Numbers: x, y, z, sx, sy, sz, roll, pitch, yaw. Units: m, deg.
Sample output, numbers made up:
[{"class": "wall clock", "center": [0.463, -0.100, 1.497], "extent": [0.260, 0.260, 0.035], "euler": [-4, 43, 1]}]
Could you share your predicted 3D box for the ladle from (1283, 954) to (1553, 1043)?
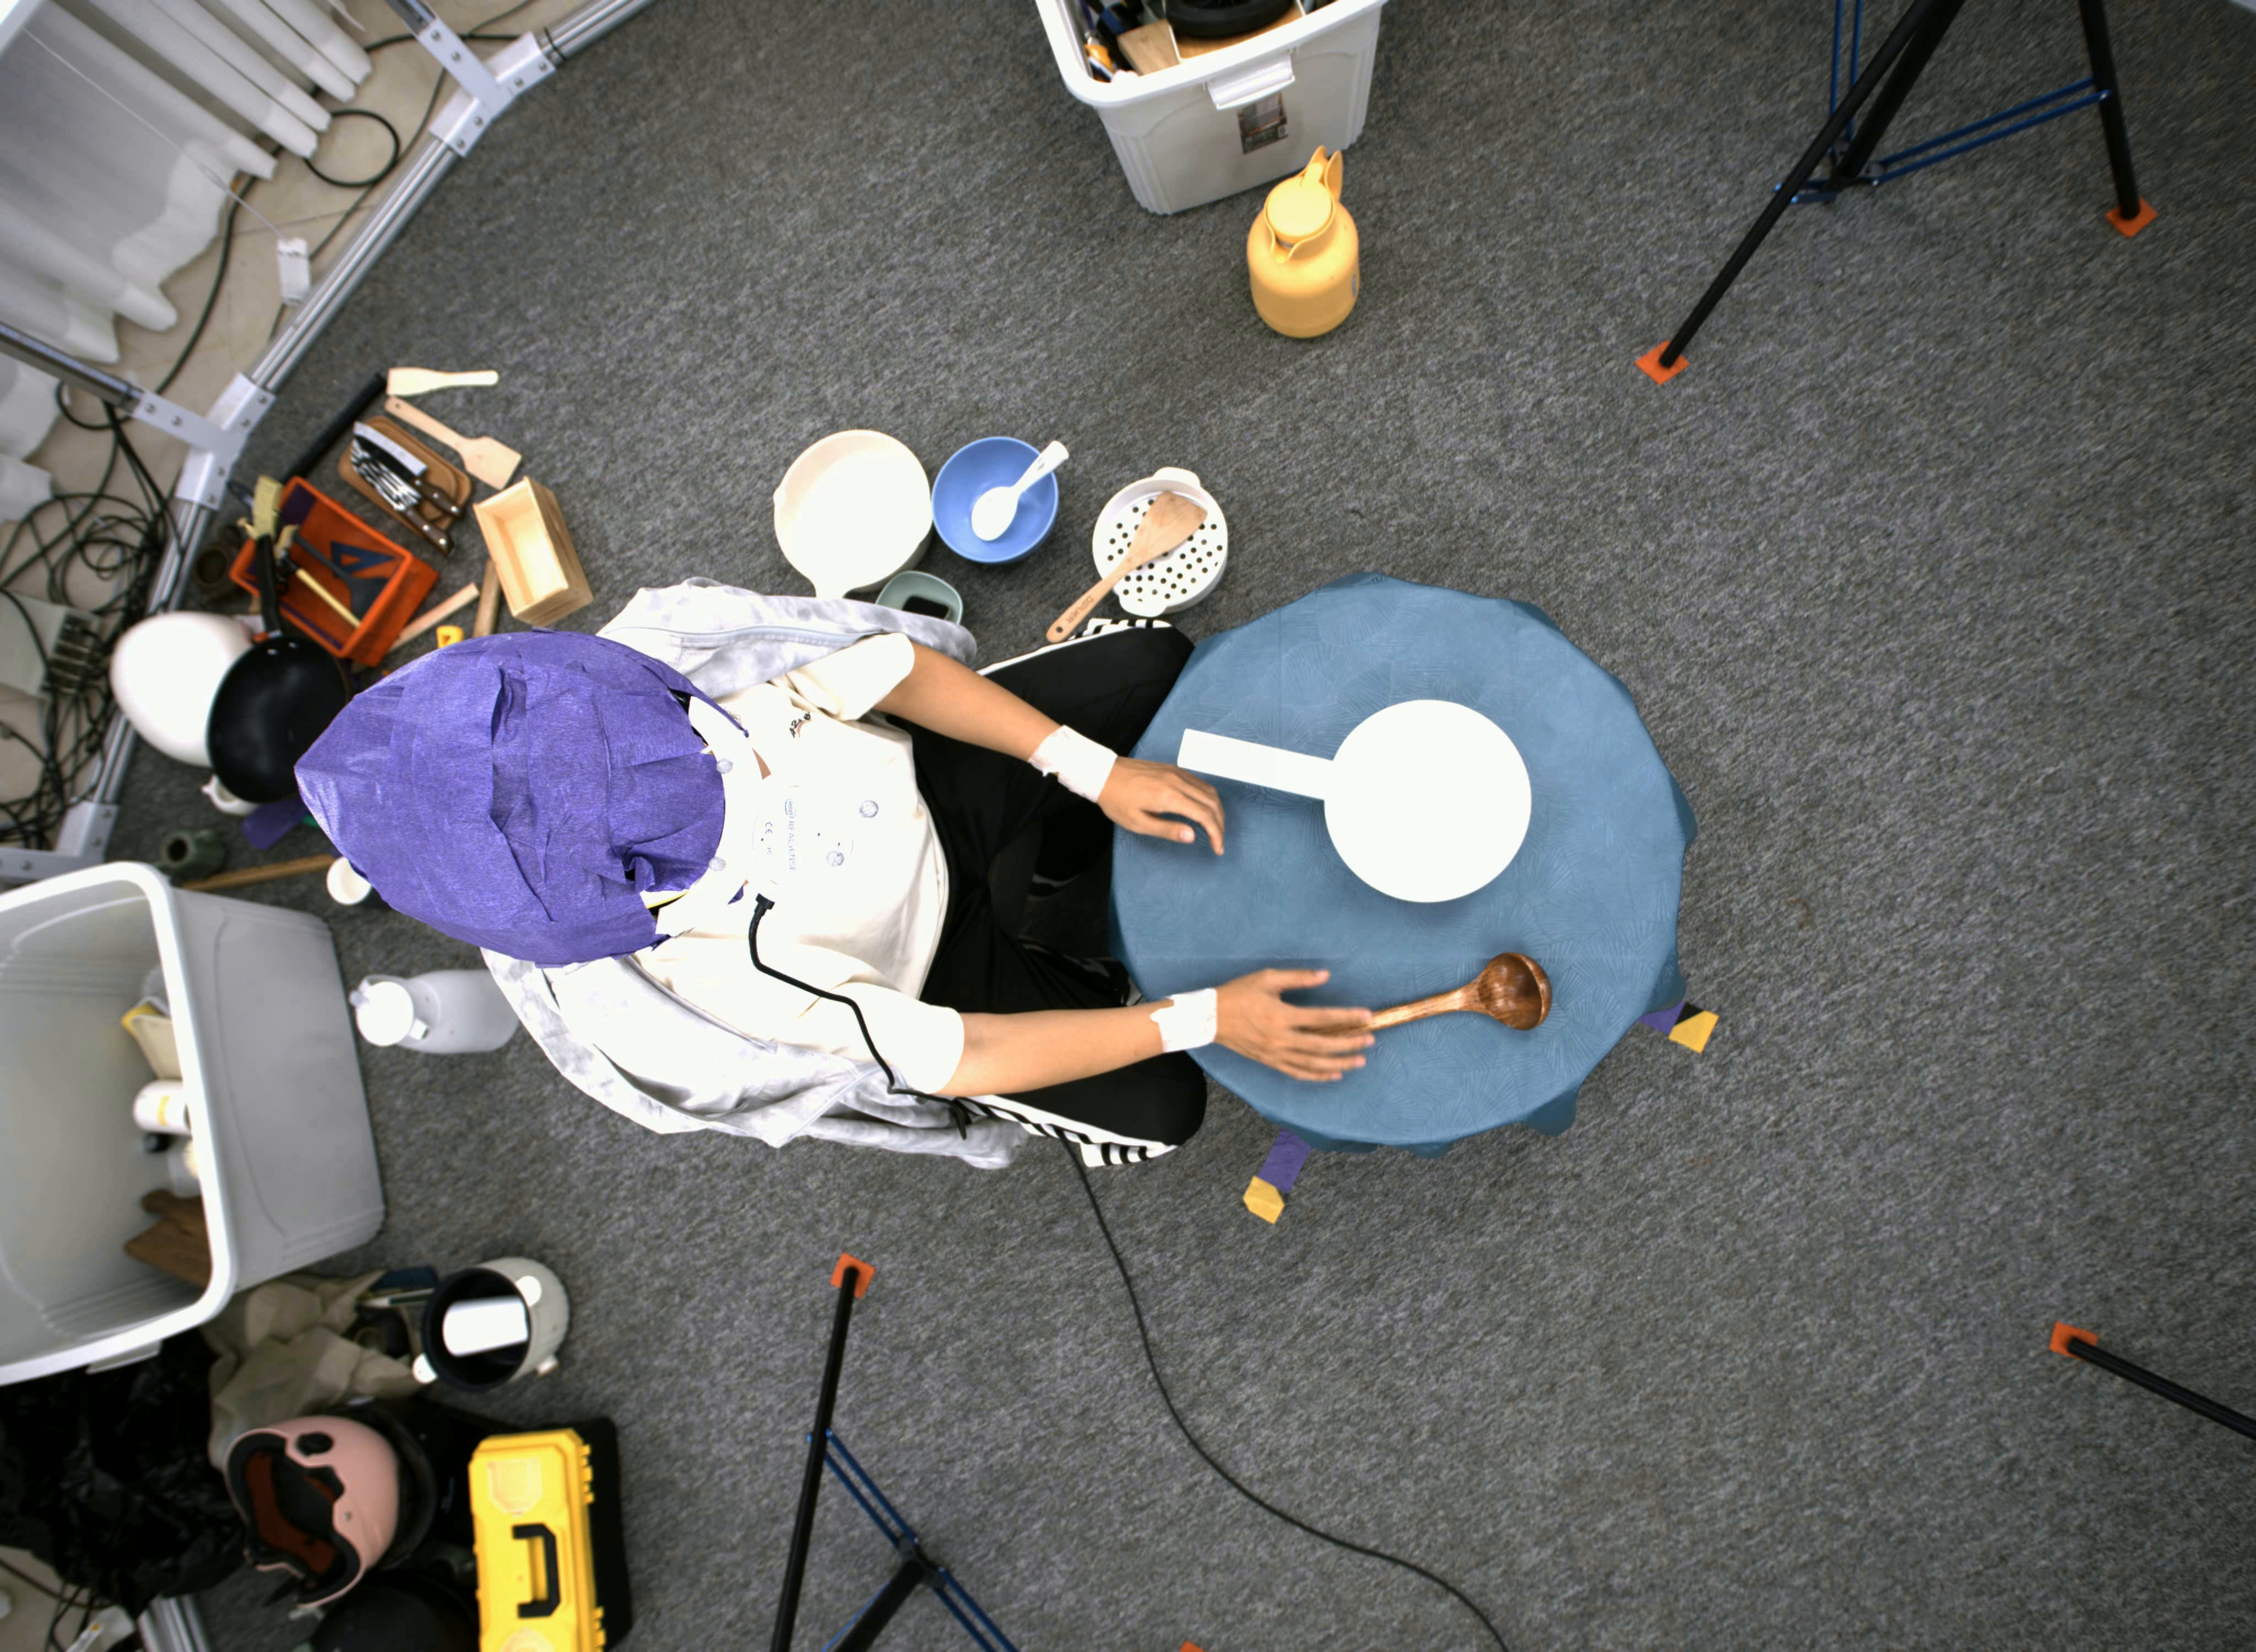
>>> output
[{"class": "ladle", "center": [0.292, 0.190, 1.407], "extent": [0.275, 0.076, 0.081], "euler": [-13, 86, 9]}]

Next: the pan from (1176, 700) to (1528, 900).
[{"class": "pan", "center": [0.228, -0.041, 1.422], "extent": [0.355, 0.102, 0.201], "euler": [14, 89, 12]}]
